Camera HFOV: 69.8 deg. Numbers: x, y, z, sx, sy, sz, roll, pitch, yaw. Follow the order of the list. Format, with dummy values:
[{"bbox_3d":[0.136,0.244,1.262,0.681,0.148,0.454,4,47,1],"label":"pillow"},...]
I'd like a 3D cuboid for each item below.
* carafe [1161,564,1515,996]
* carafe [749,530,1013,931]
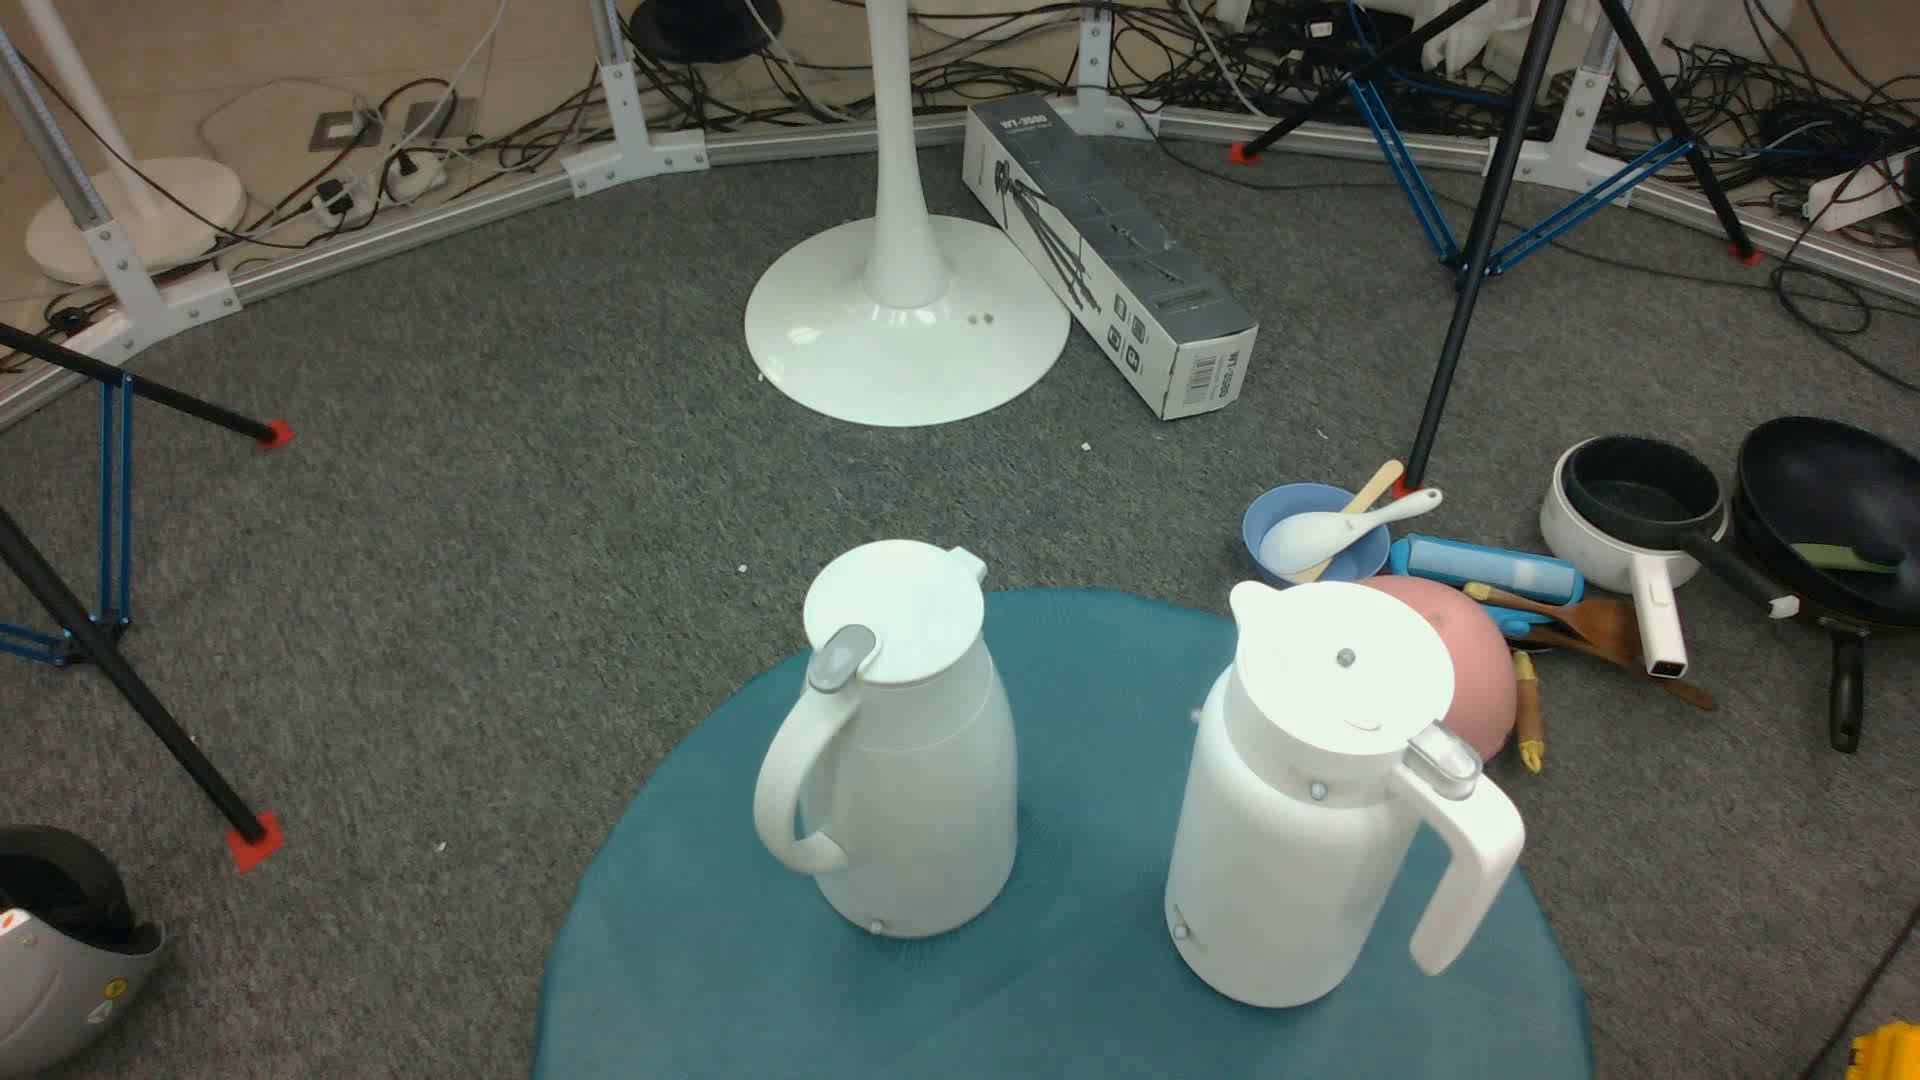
[{"bbox_3d":[0.189,0.147,0.728,0.124,0.267,0.173,-30,55,-25],"label":"carafe"},{"bbox_3d":[-0.046,0.117,0.767,0.132,0.247,0.168,31,57,24],"label":"carafe"}]
